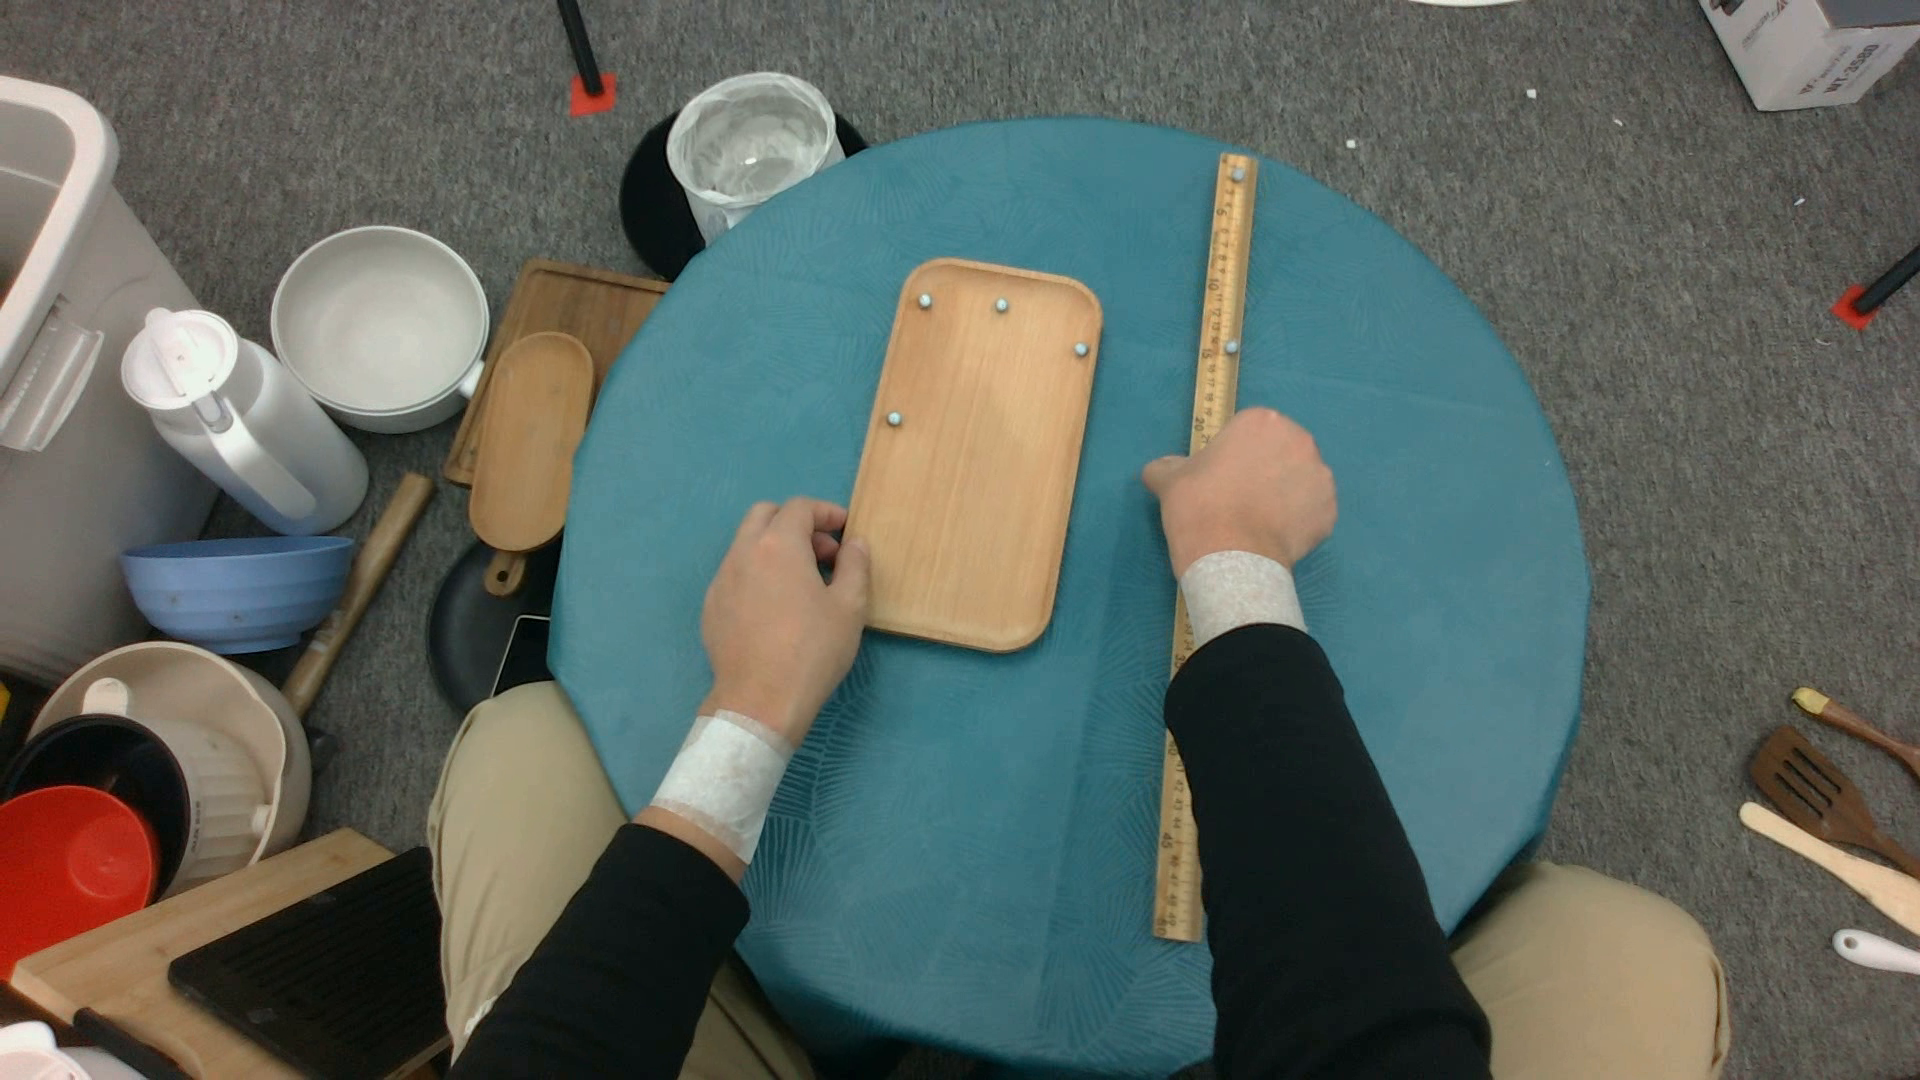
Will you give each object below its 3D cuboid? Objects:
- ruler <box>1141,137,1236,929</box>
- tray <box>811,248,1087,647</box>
[{"bbox_3d":[0.137,-0.030,0.808,0.027,0.006,0.502,5,69,6],"label":"ruler"},{"bbox_3d":[-0.003,-0.060,0.820,0.130,0.023,0.251,10,69,5],"label":"tray"}]
